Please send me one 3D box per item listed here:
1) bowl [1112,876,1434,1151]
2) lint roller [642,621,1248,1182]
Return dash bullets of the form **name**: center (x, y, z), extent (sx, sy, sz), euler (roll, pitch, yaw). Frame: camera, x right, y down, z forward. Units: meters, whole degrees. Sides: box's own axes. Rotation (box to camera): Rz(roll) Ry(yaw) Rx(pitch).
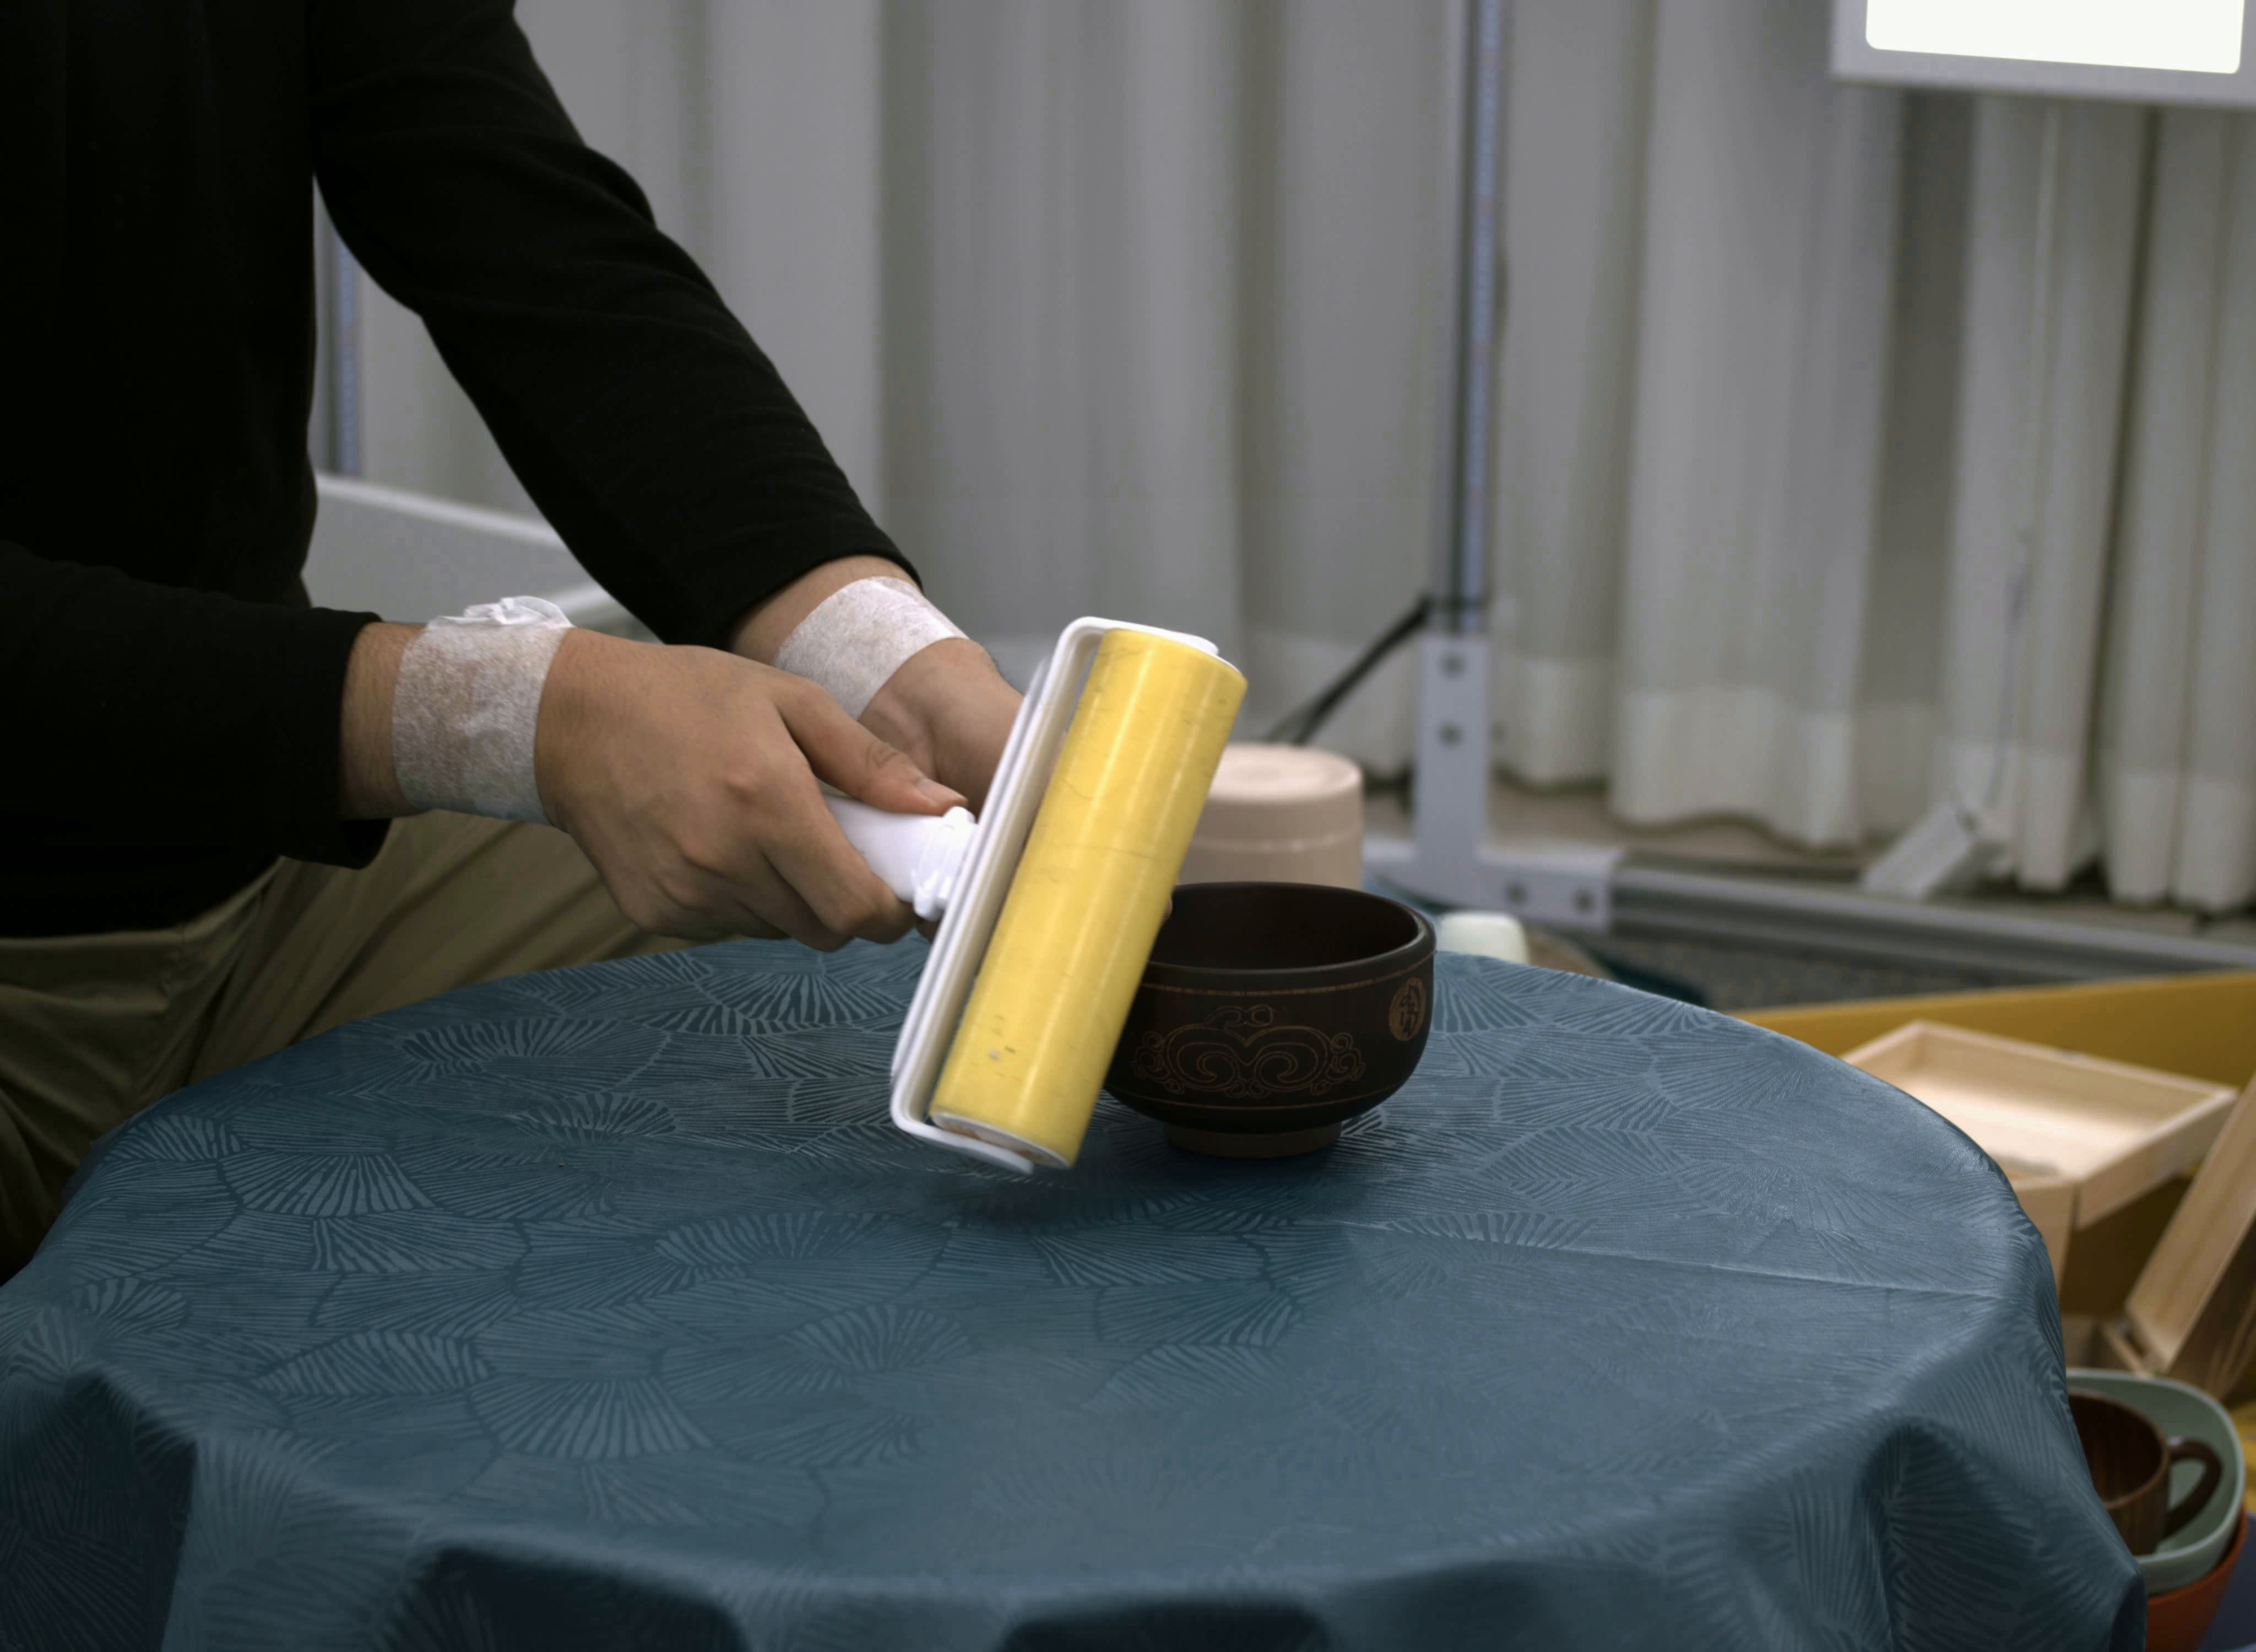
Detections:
- **bowl**: center (0.038, 0.062, 1.662), extent (0.117, 0.070, 0.117), euler (0, 13, 0)
- **lint roller**: center (-0.073, 0.009, 1.630), extent (0.190, 0.174, 0.052), euler (13, -12, 21)
